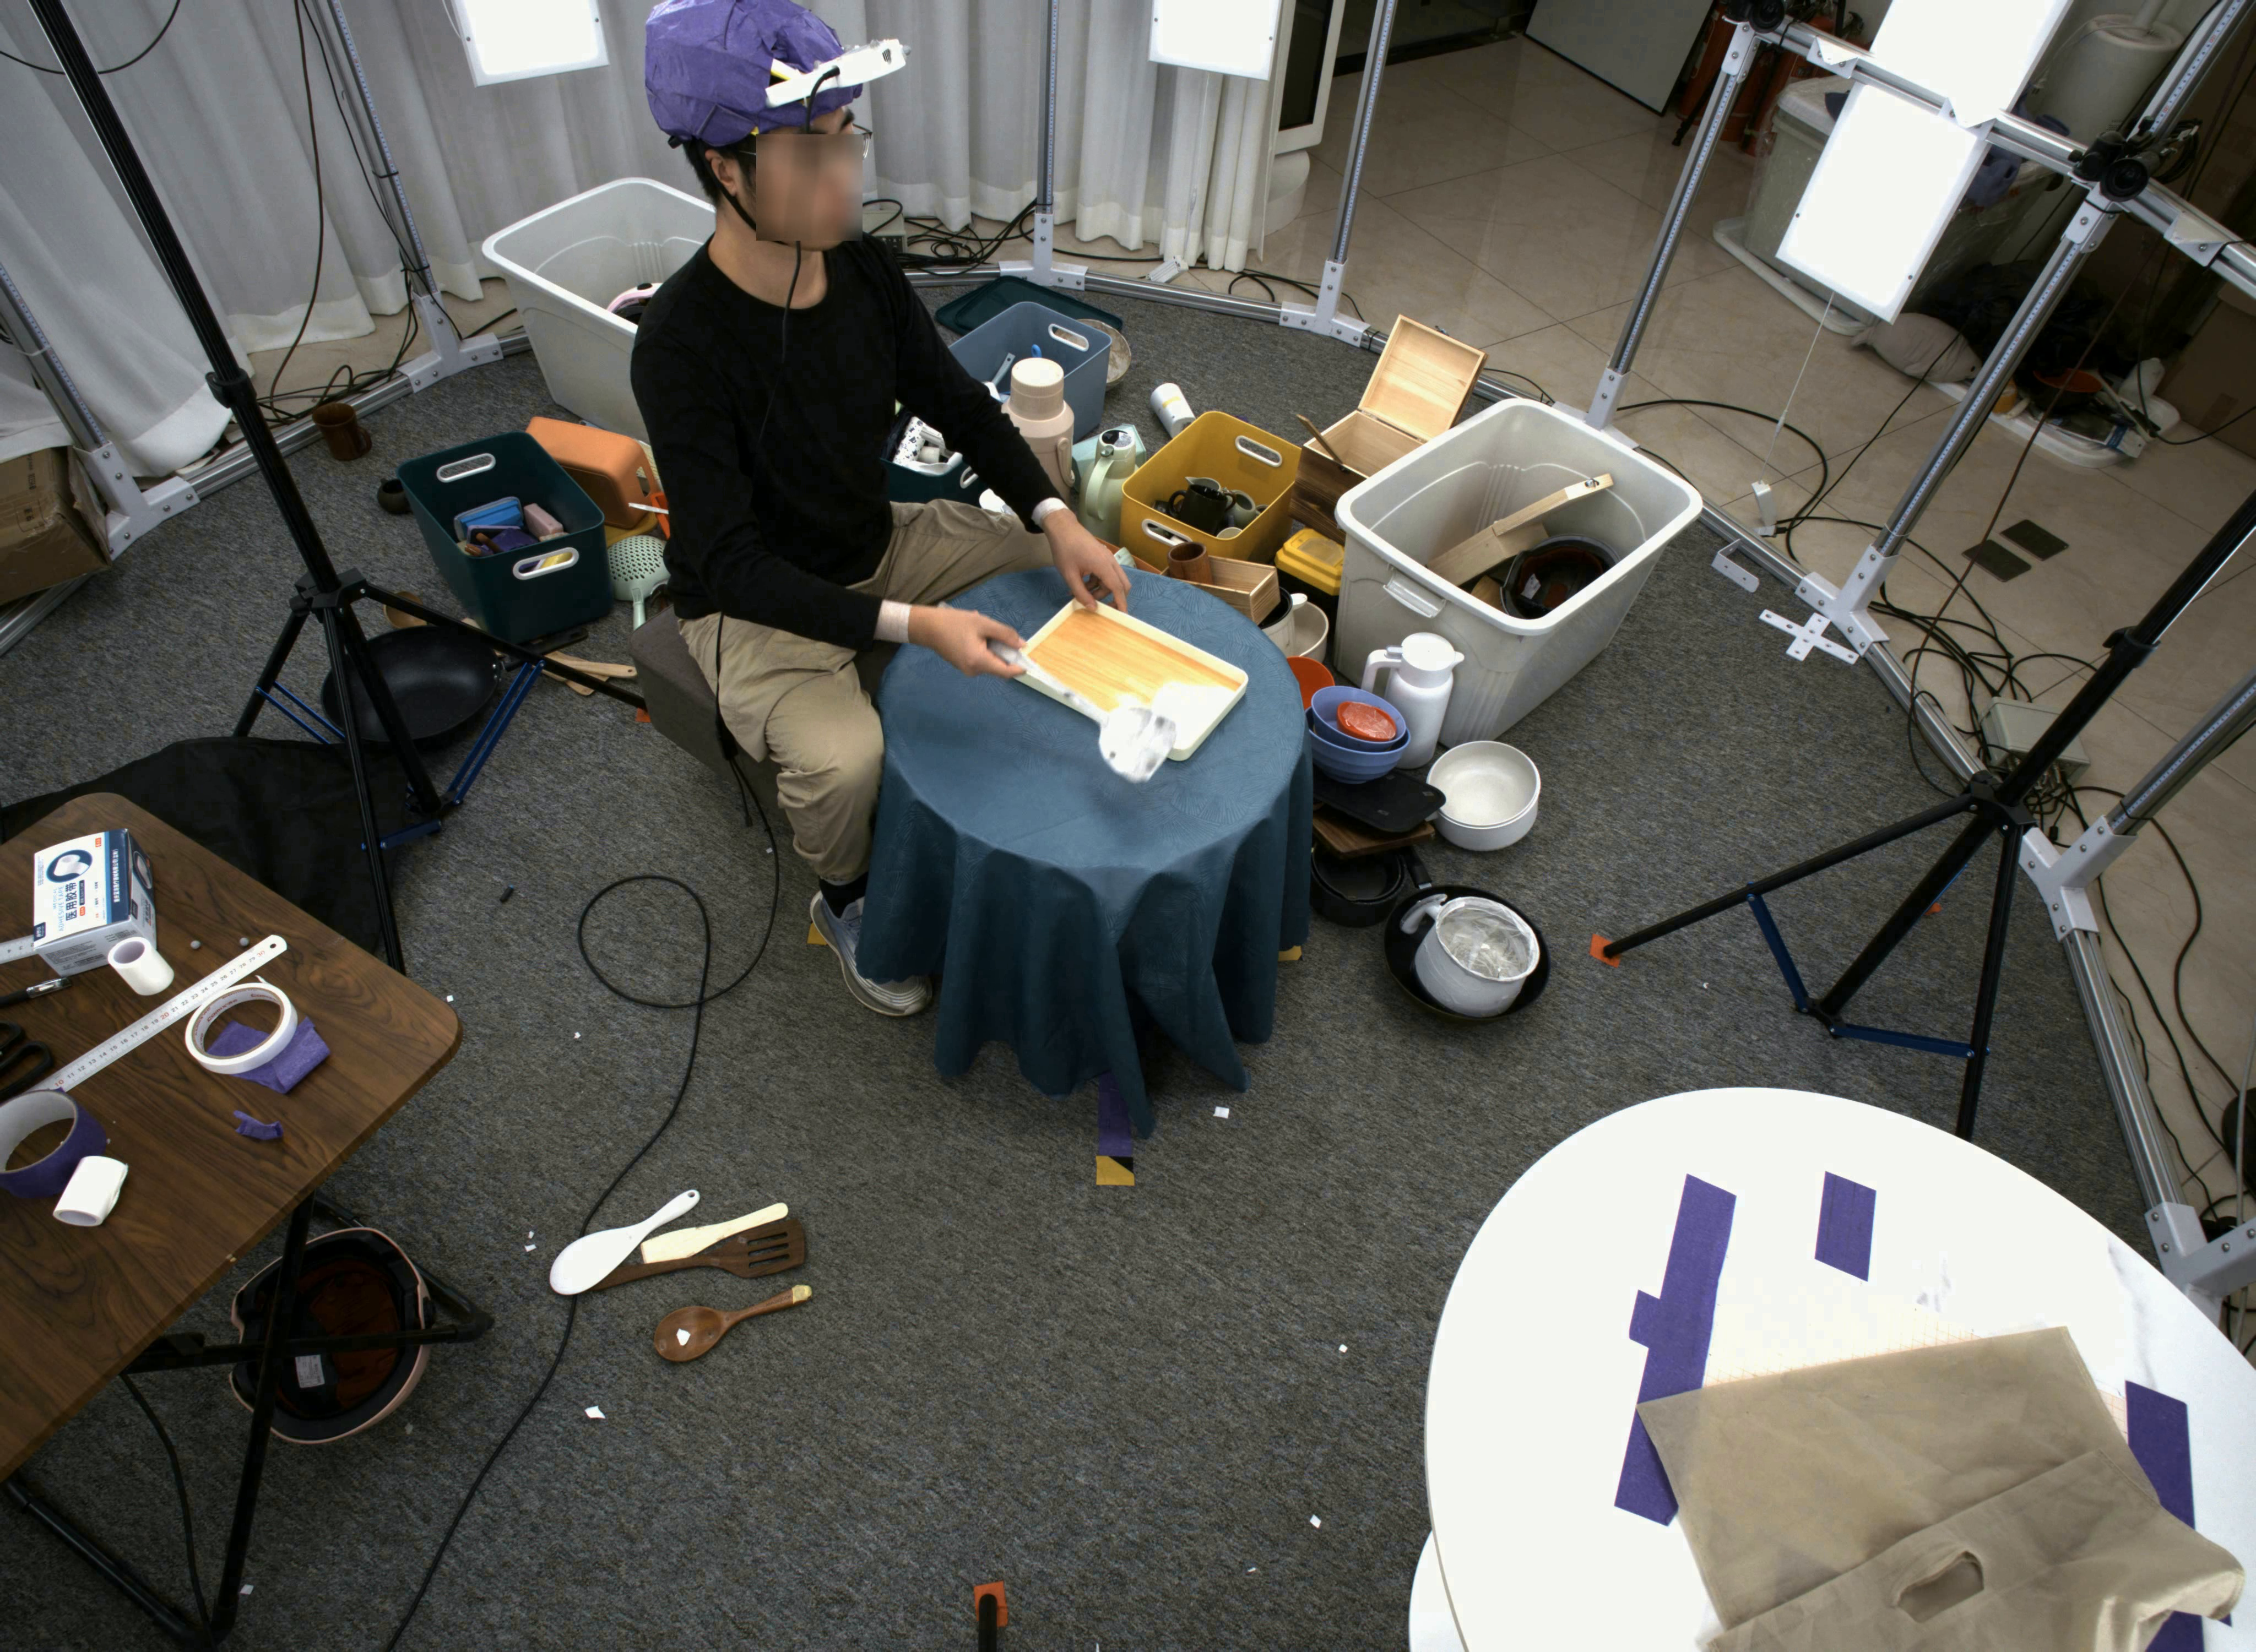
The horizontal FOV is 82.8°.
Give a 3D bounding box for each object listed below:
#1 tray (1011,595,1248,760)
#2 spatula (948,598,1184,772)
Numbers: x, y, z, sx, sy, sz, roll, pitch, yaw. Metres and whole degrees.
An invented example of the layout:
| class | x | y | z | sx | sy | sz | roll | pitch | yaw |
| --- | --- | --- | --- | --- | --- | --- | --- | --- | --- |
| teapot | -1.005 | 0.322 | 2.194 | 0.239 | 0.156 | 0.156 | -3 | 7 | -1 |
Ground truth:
| class | x | y | z | sx | sy | sz | roll | pitch | yaw |
| --- | --- | --- | --- | --- | --- | --- | --- | --- | --- |
| tray | 0.002 | -0.218 | 1.841 | 0.303 | 0.027 | 0.194 | 29 | 53 | 20 |
| spatula | -0.095 | -0.196 | 1.670 | 0.366 | 0.044 | 0.099 | 34 | 82 | 7 |
